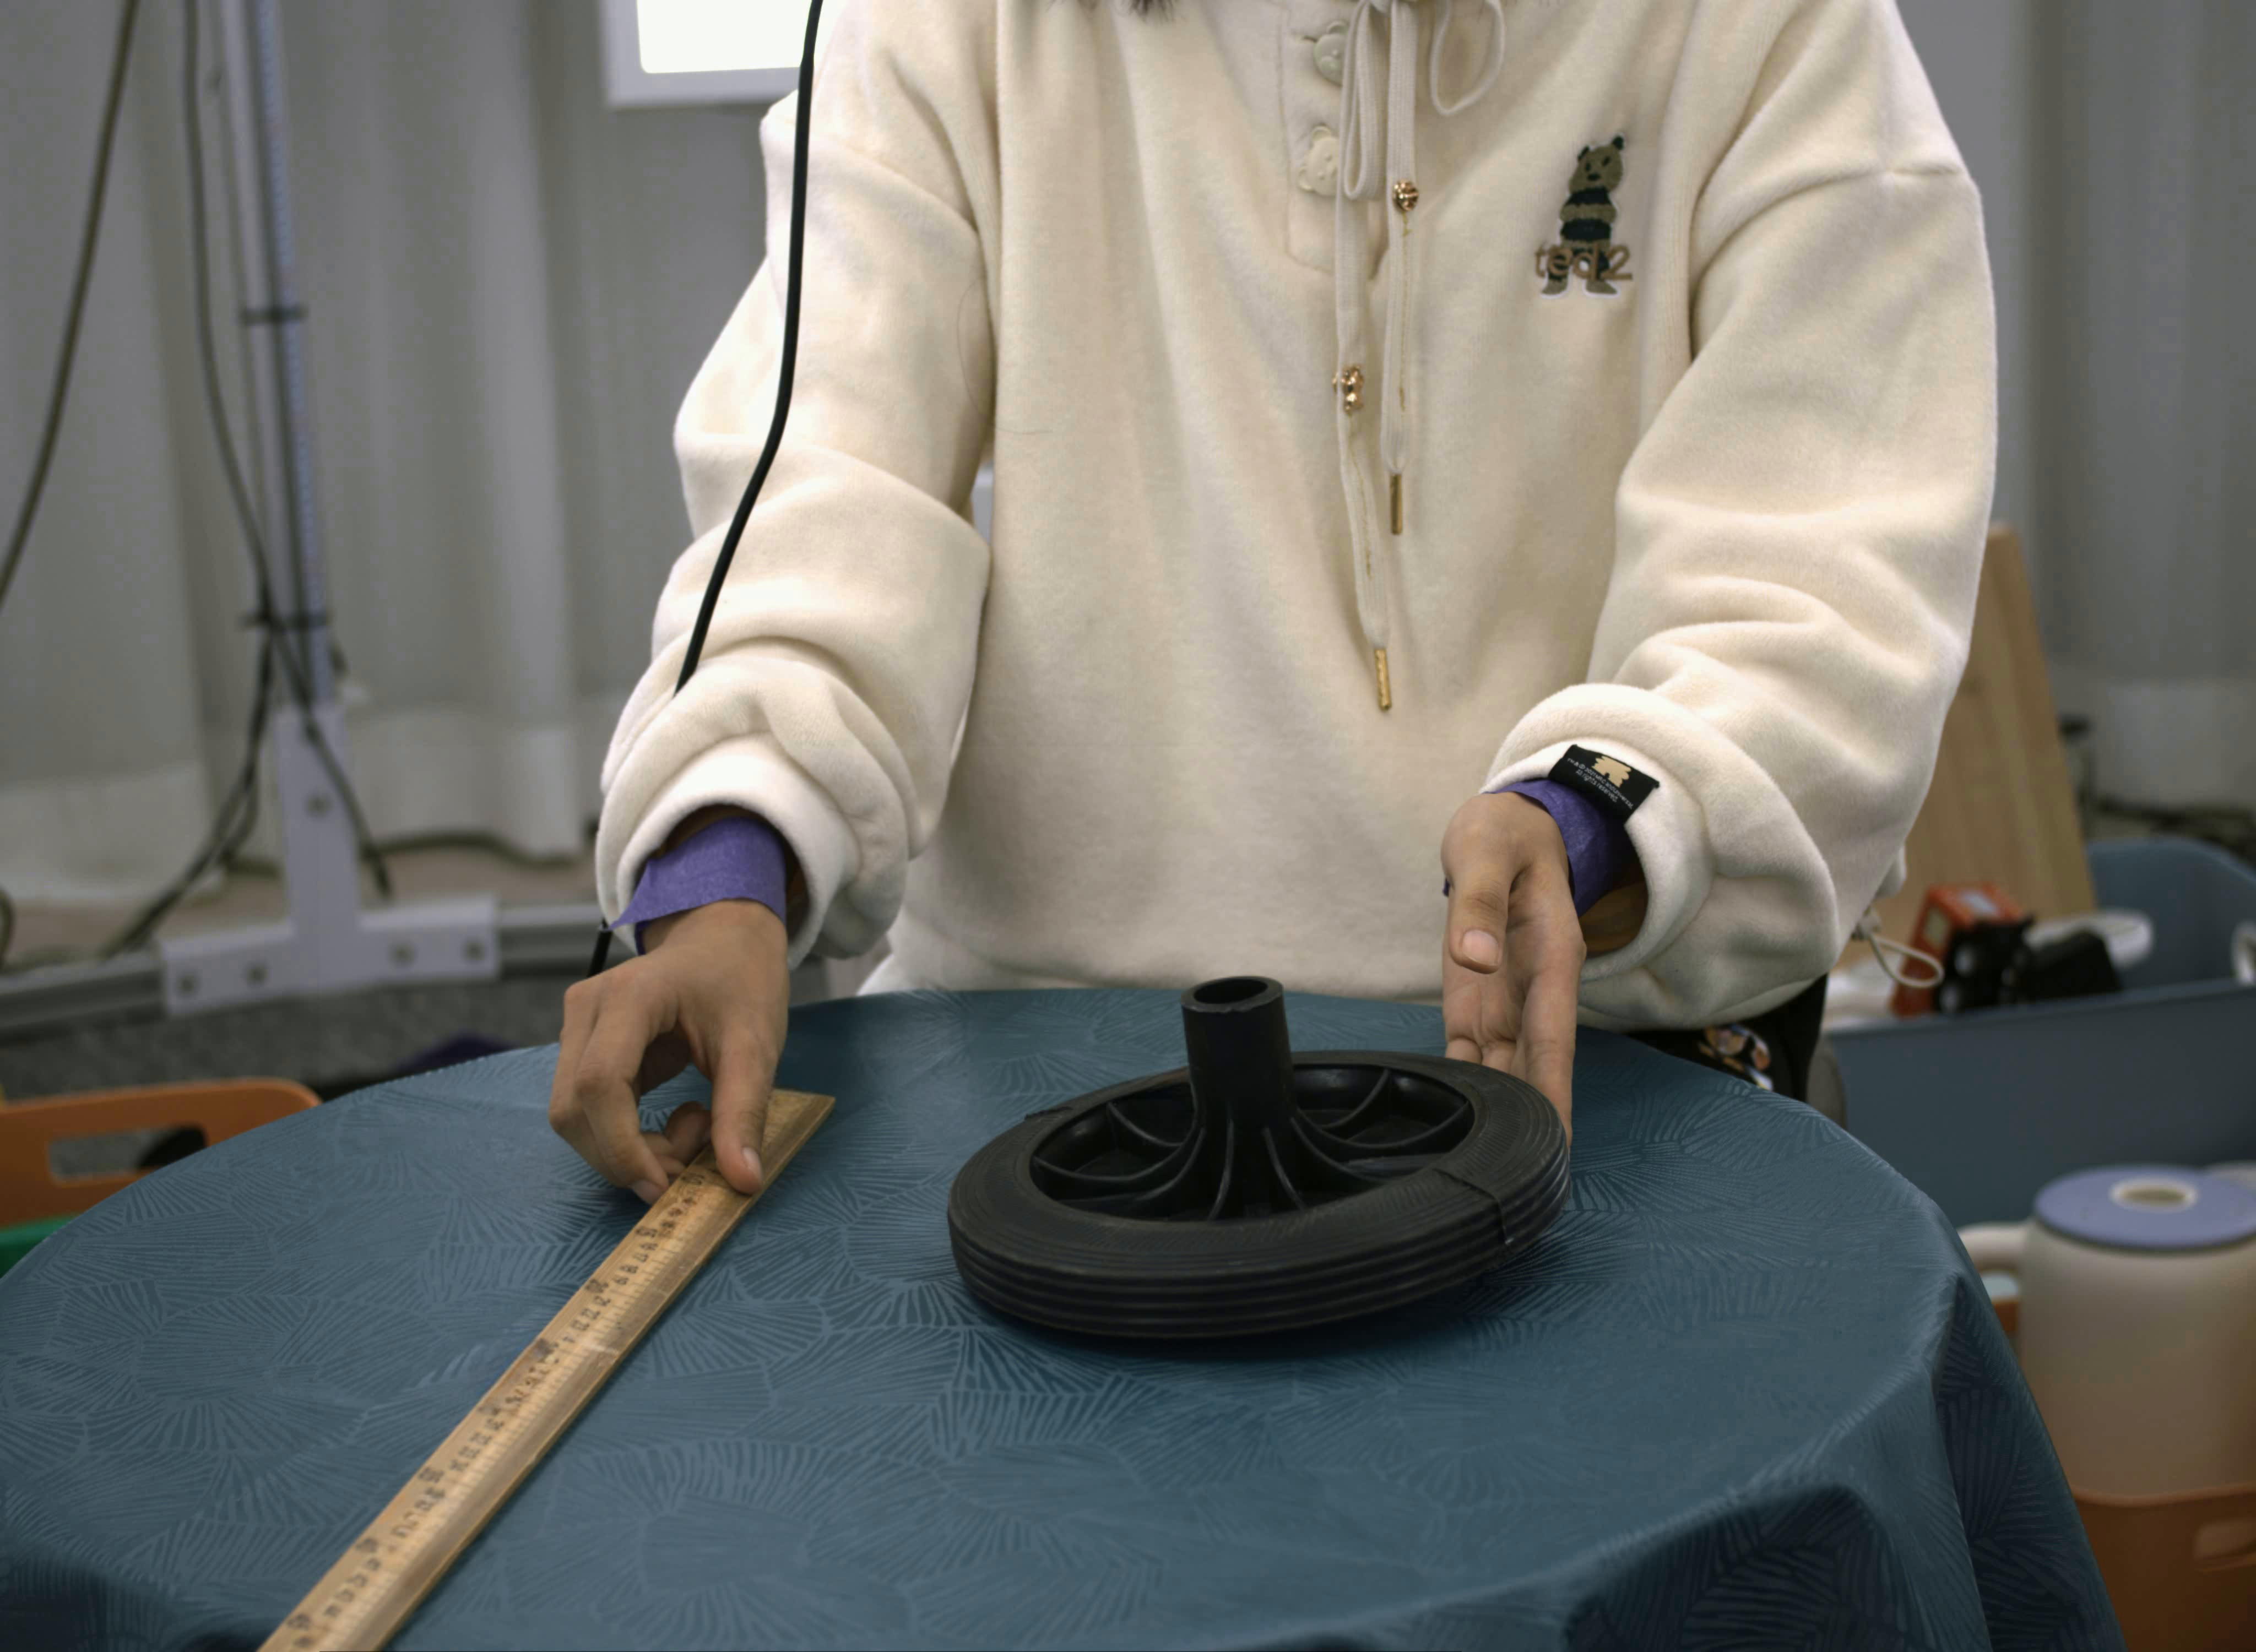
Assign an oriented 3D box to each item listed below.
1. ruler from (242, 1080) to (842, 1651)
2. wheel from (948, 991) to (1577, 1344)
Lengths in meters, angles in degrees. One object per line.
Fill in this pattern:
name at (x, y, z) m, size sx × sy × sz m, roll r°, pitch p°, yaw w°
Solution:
ruler at (-0.161, 0.153, 1.576) m, size 0.027 × 0.006 × 0.503 m, roll 19°, pitch 18°, yaw 7°
wheel at (0.038, 0.092, 1.638) m, size 0.189 × 0.079 × 0.189 m, roll -10°, pitch 16°, yaw -10°
